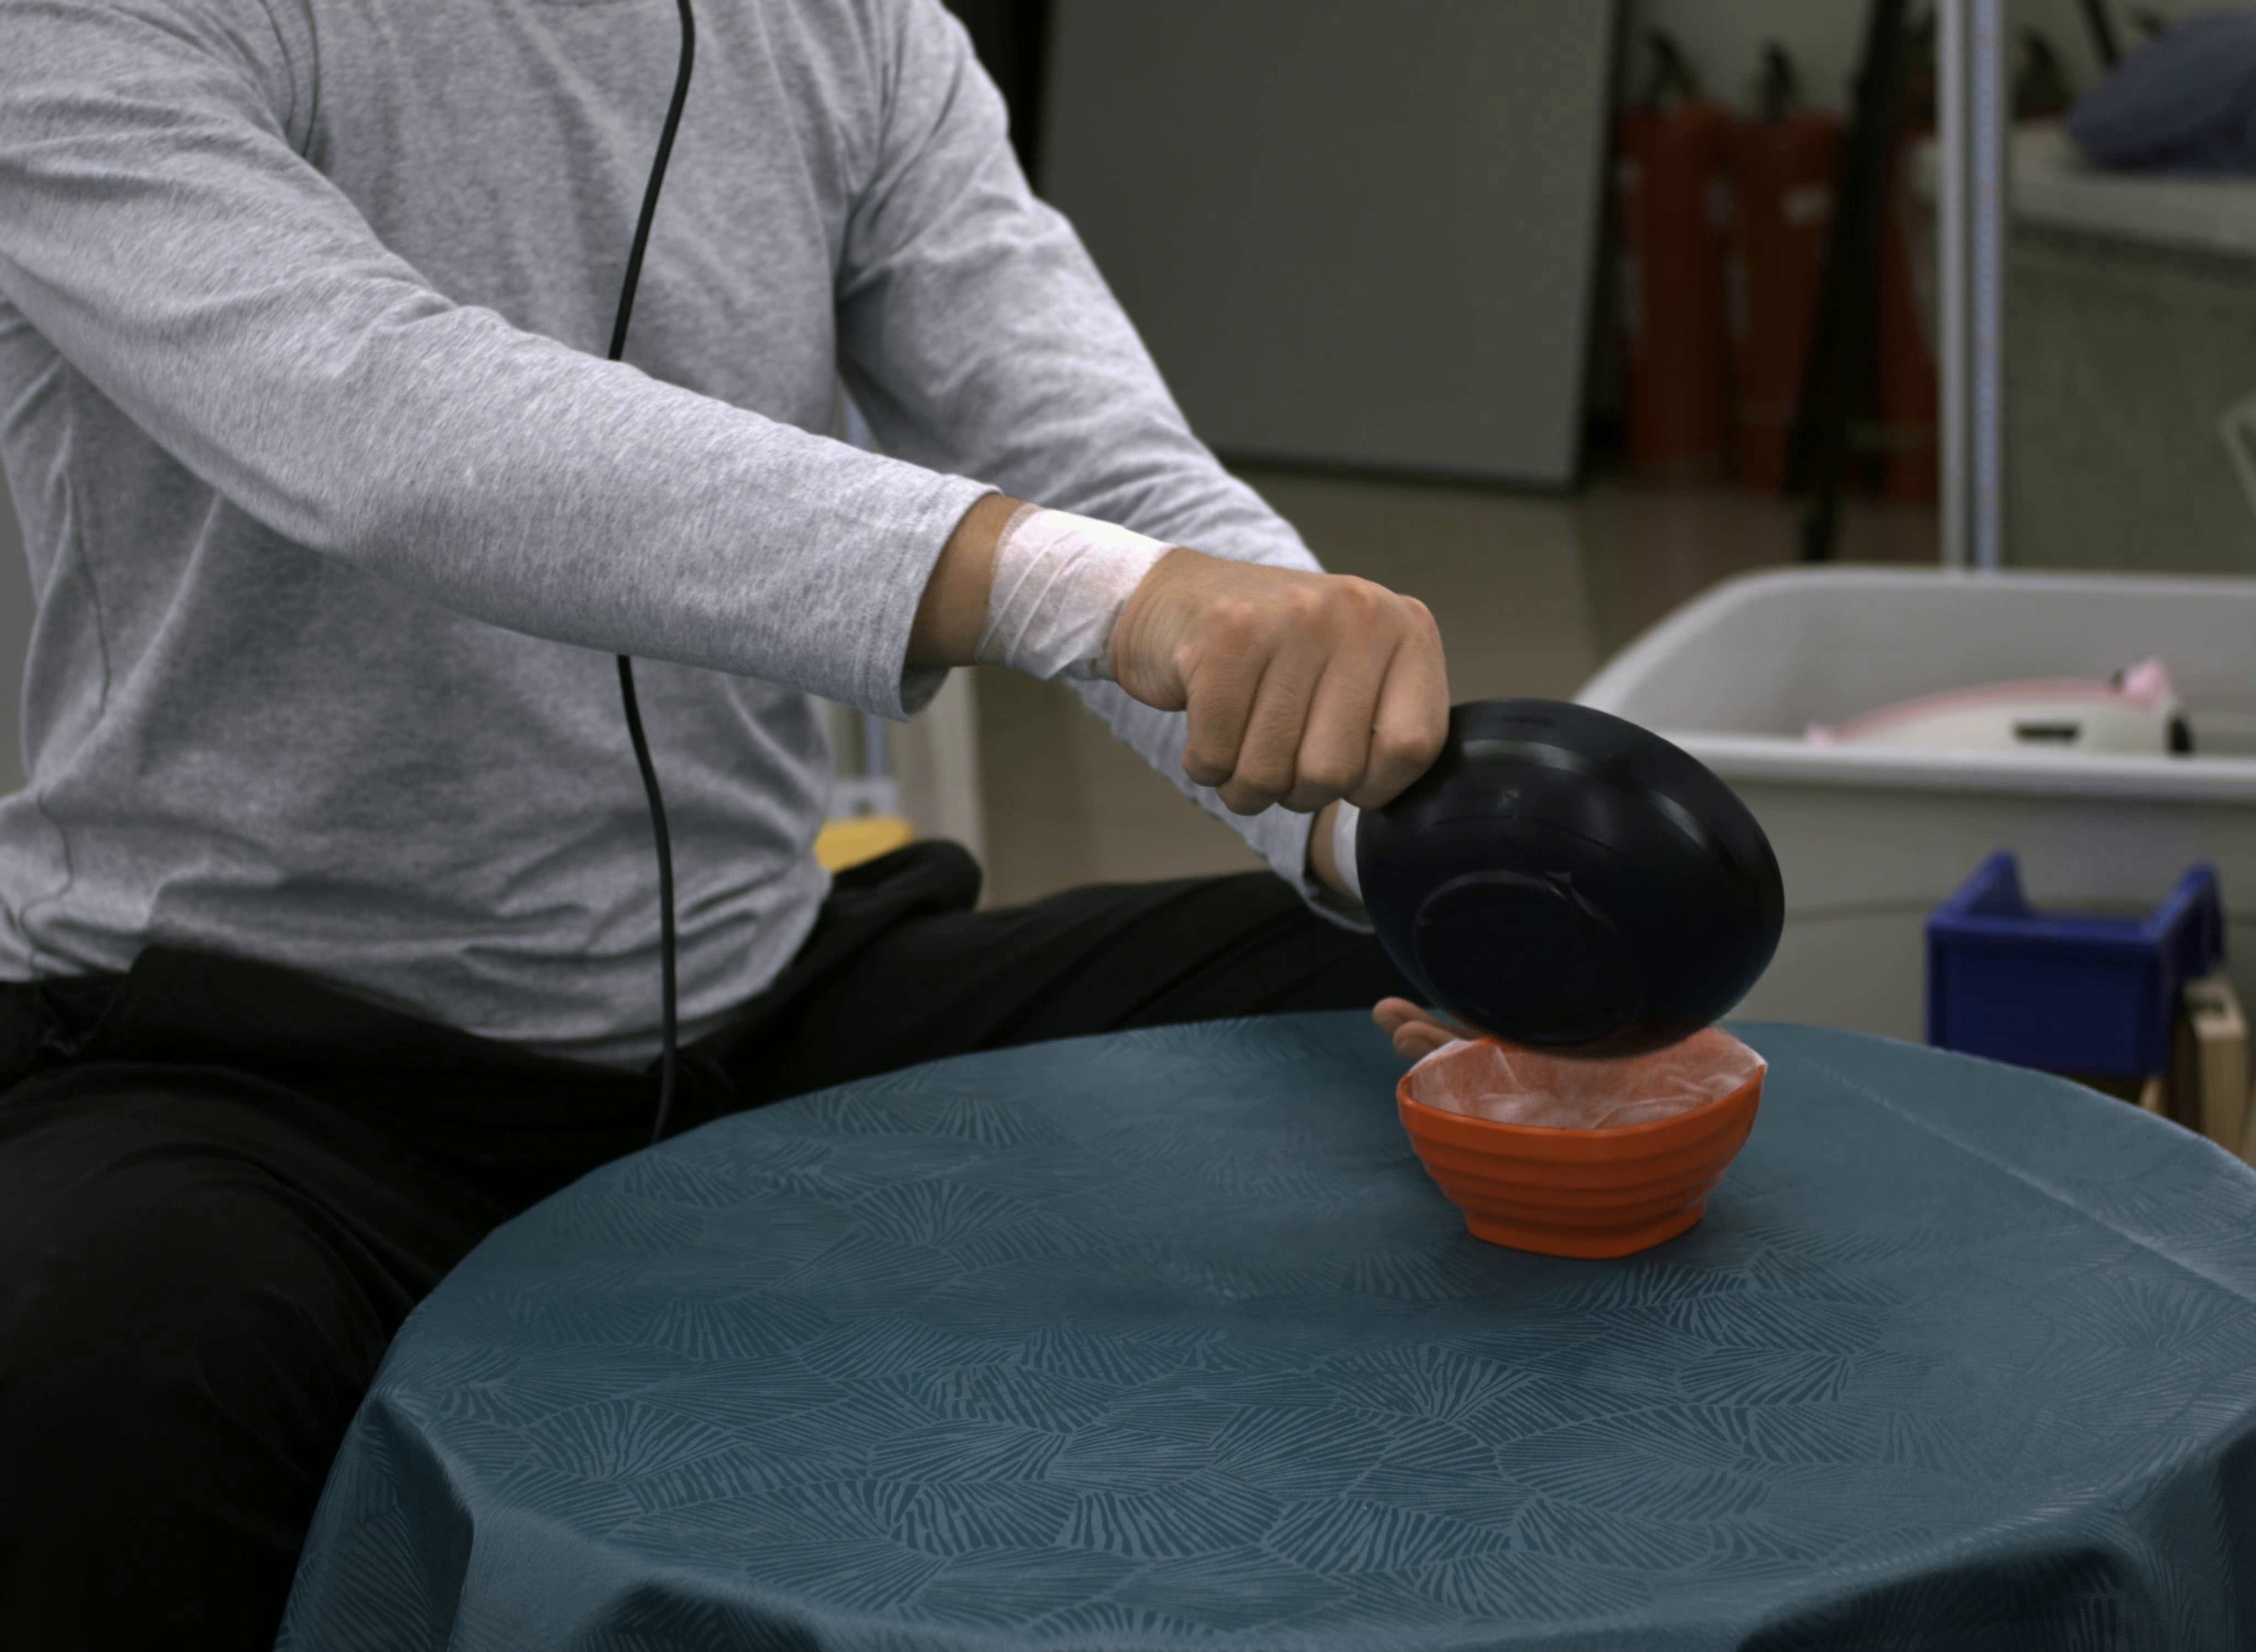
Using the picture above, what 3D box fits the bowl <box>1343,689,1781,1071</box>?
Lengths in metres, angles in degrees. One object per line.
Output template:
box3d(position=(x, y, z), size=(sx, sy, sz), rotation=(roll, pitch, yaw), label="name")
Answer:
box3d(position=(0.128, 0.028, 1.649), size=(0.140, 0.140, 0.050), rotation=(2, 40, 21), label="bowl")

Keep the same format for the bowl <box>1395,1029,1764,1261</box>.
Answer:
box3d(position=(0.144, 0.101, 1.704), size=(0.117, 0.052, 0.119), rotation=(-4, 15, 0), label="bowl")
